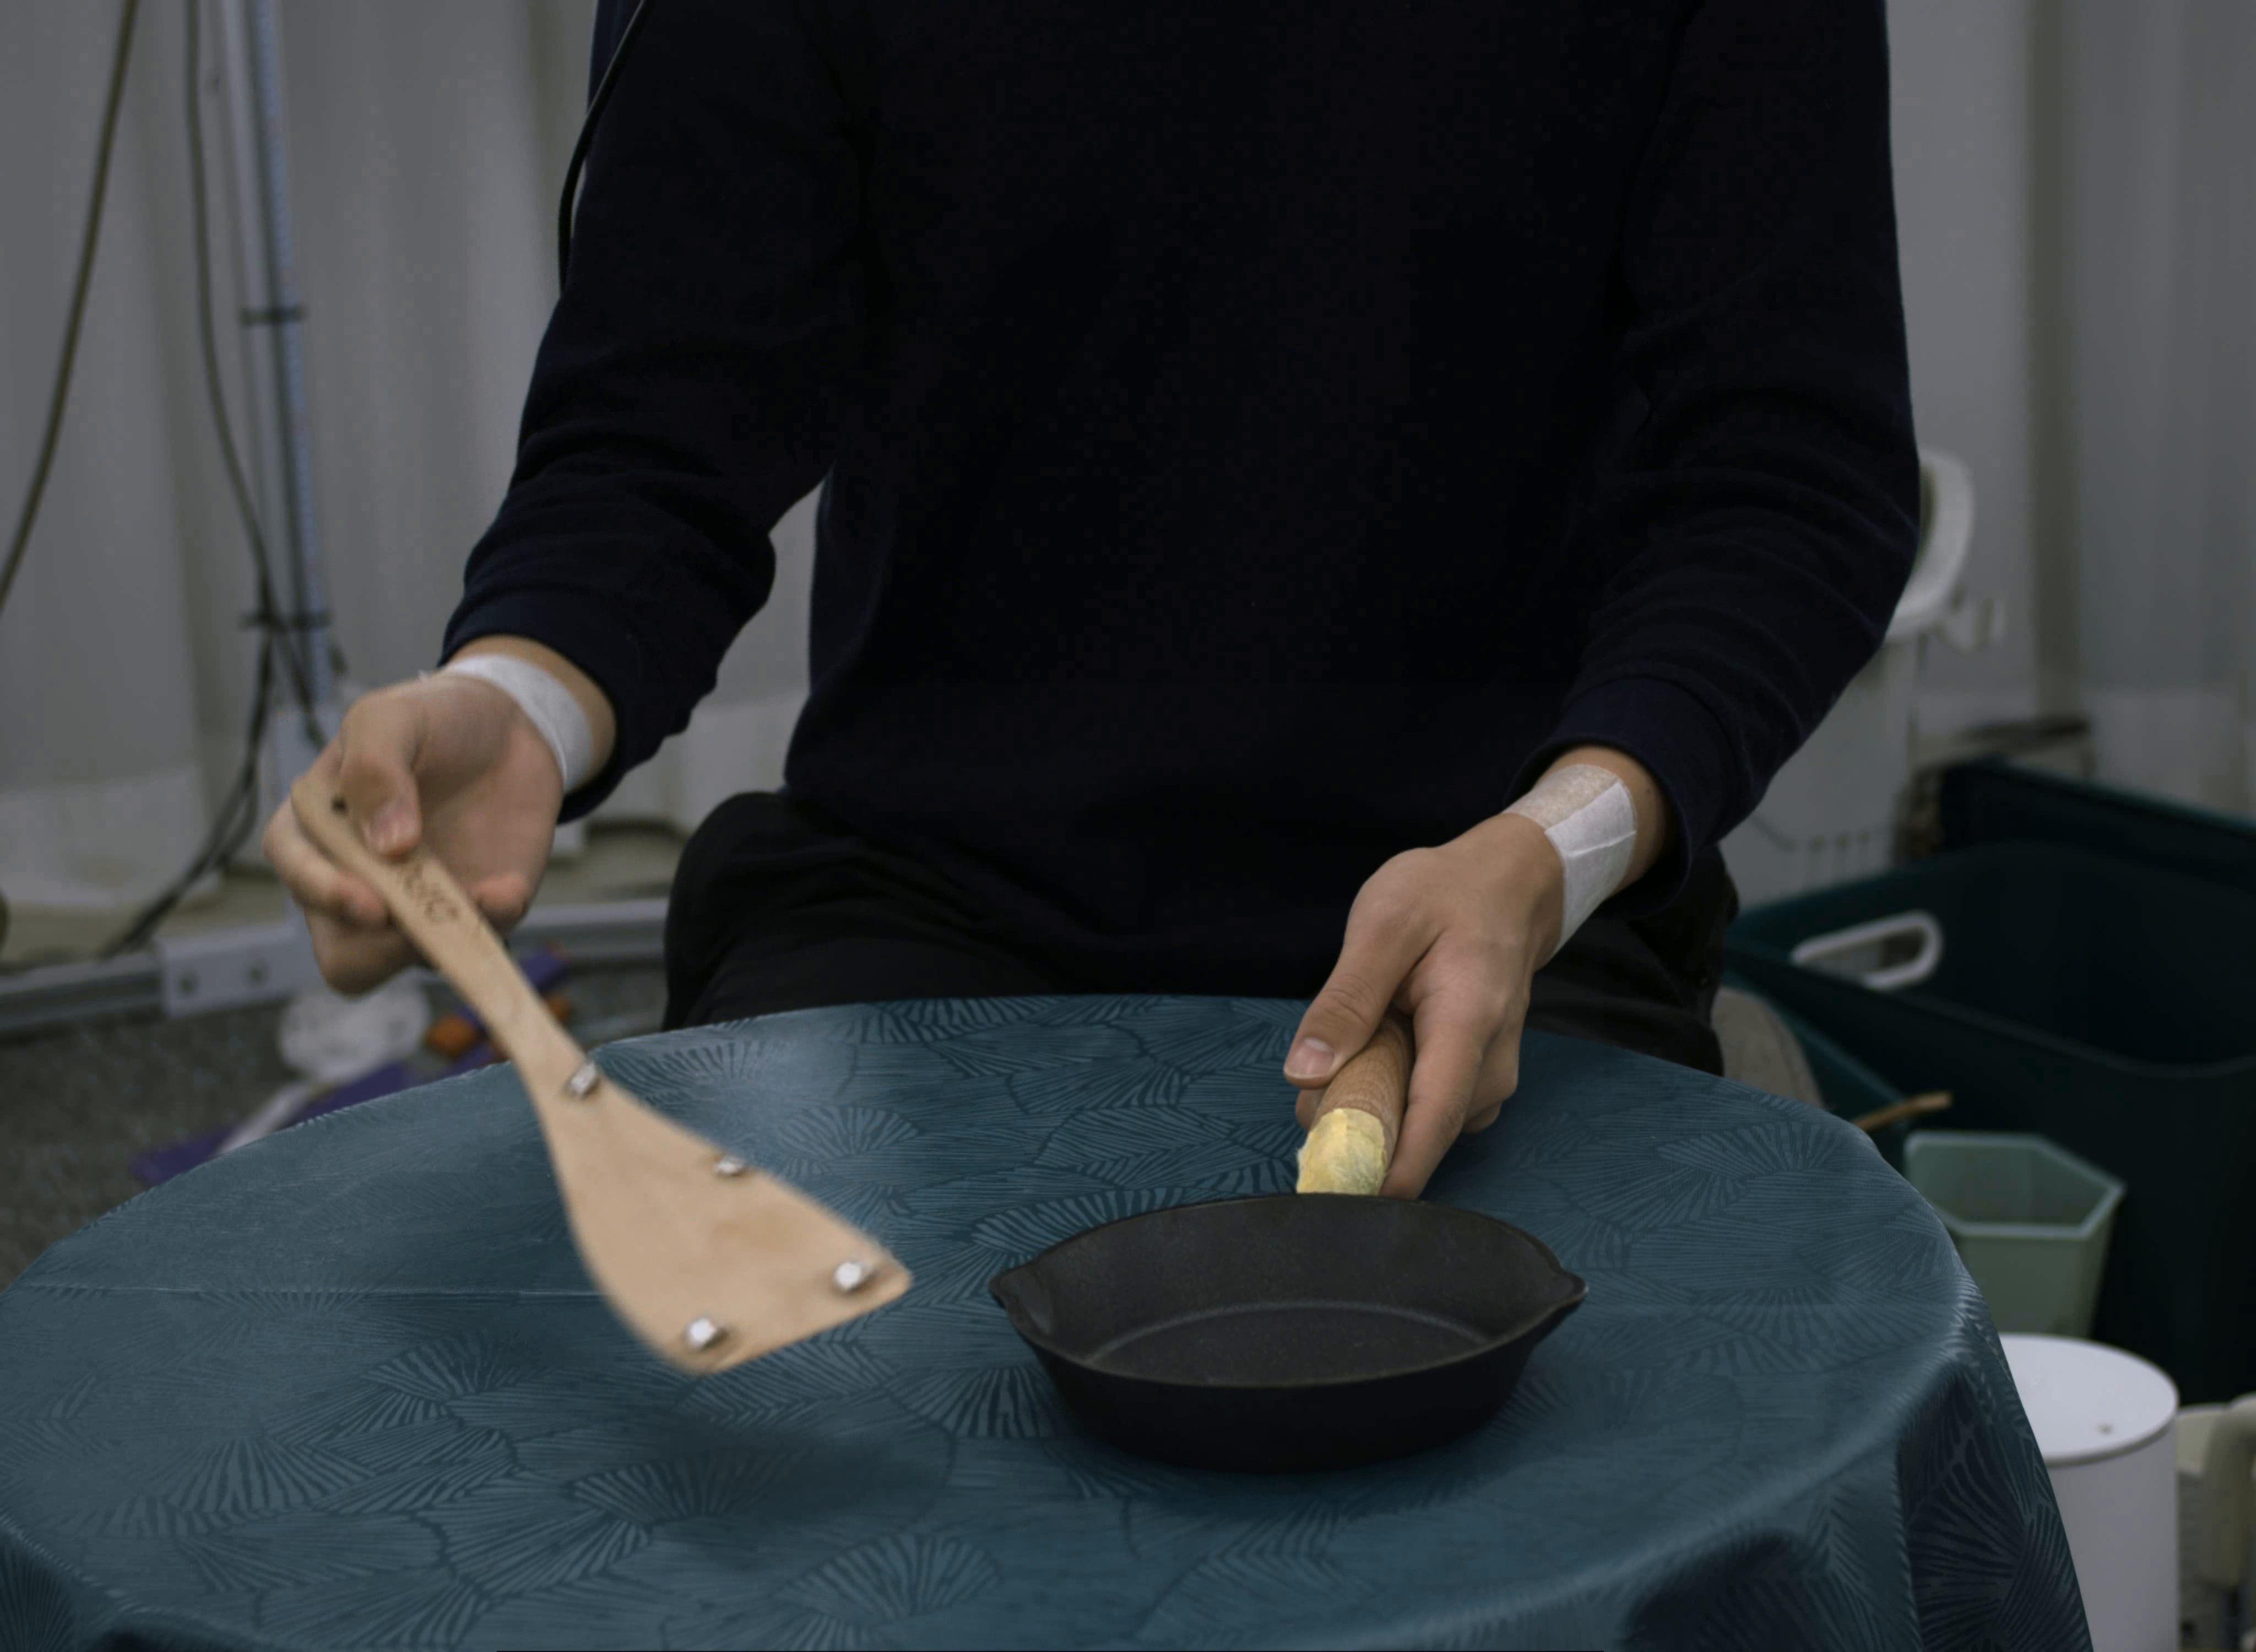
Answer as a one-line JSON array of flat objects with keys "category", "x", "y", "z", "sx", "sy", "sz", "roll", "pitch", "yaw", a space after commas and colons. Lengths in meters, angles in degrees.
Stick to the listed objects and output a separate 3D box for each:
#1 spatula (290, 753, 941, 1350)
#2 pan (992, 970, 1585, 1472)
[{"category": "spatula", "x": -0.162, "y": 0.057, "z": 1.577, "sx": 0.079, "sy": 0.016, "sz": 0.332, "roll": -11, "pitch": 36, "yaw": -32}, {"category": "pan", "x": 0.062, "y": 0.113, "z": 1.613, "sx": 0.169, "sy": 0.049, "sz": 0.326, "roll": 0, "pitch": 17, "yaw": 13}]
